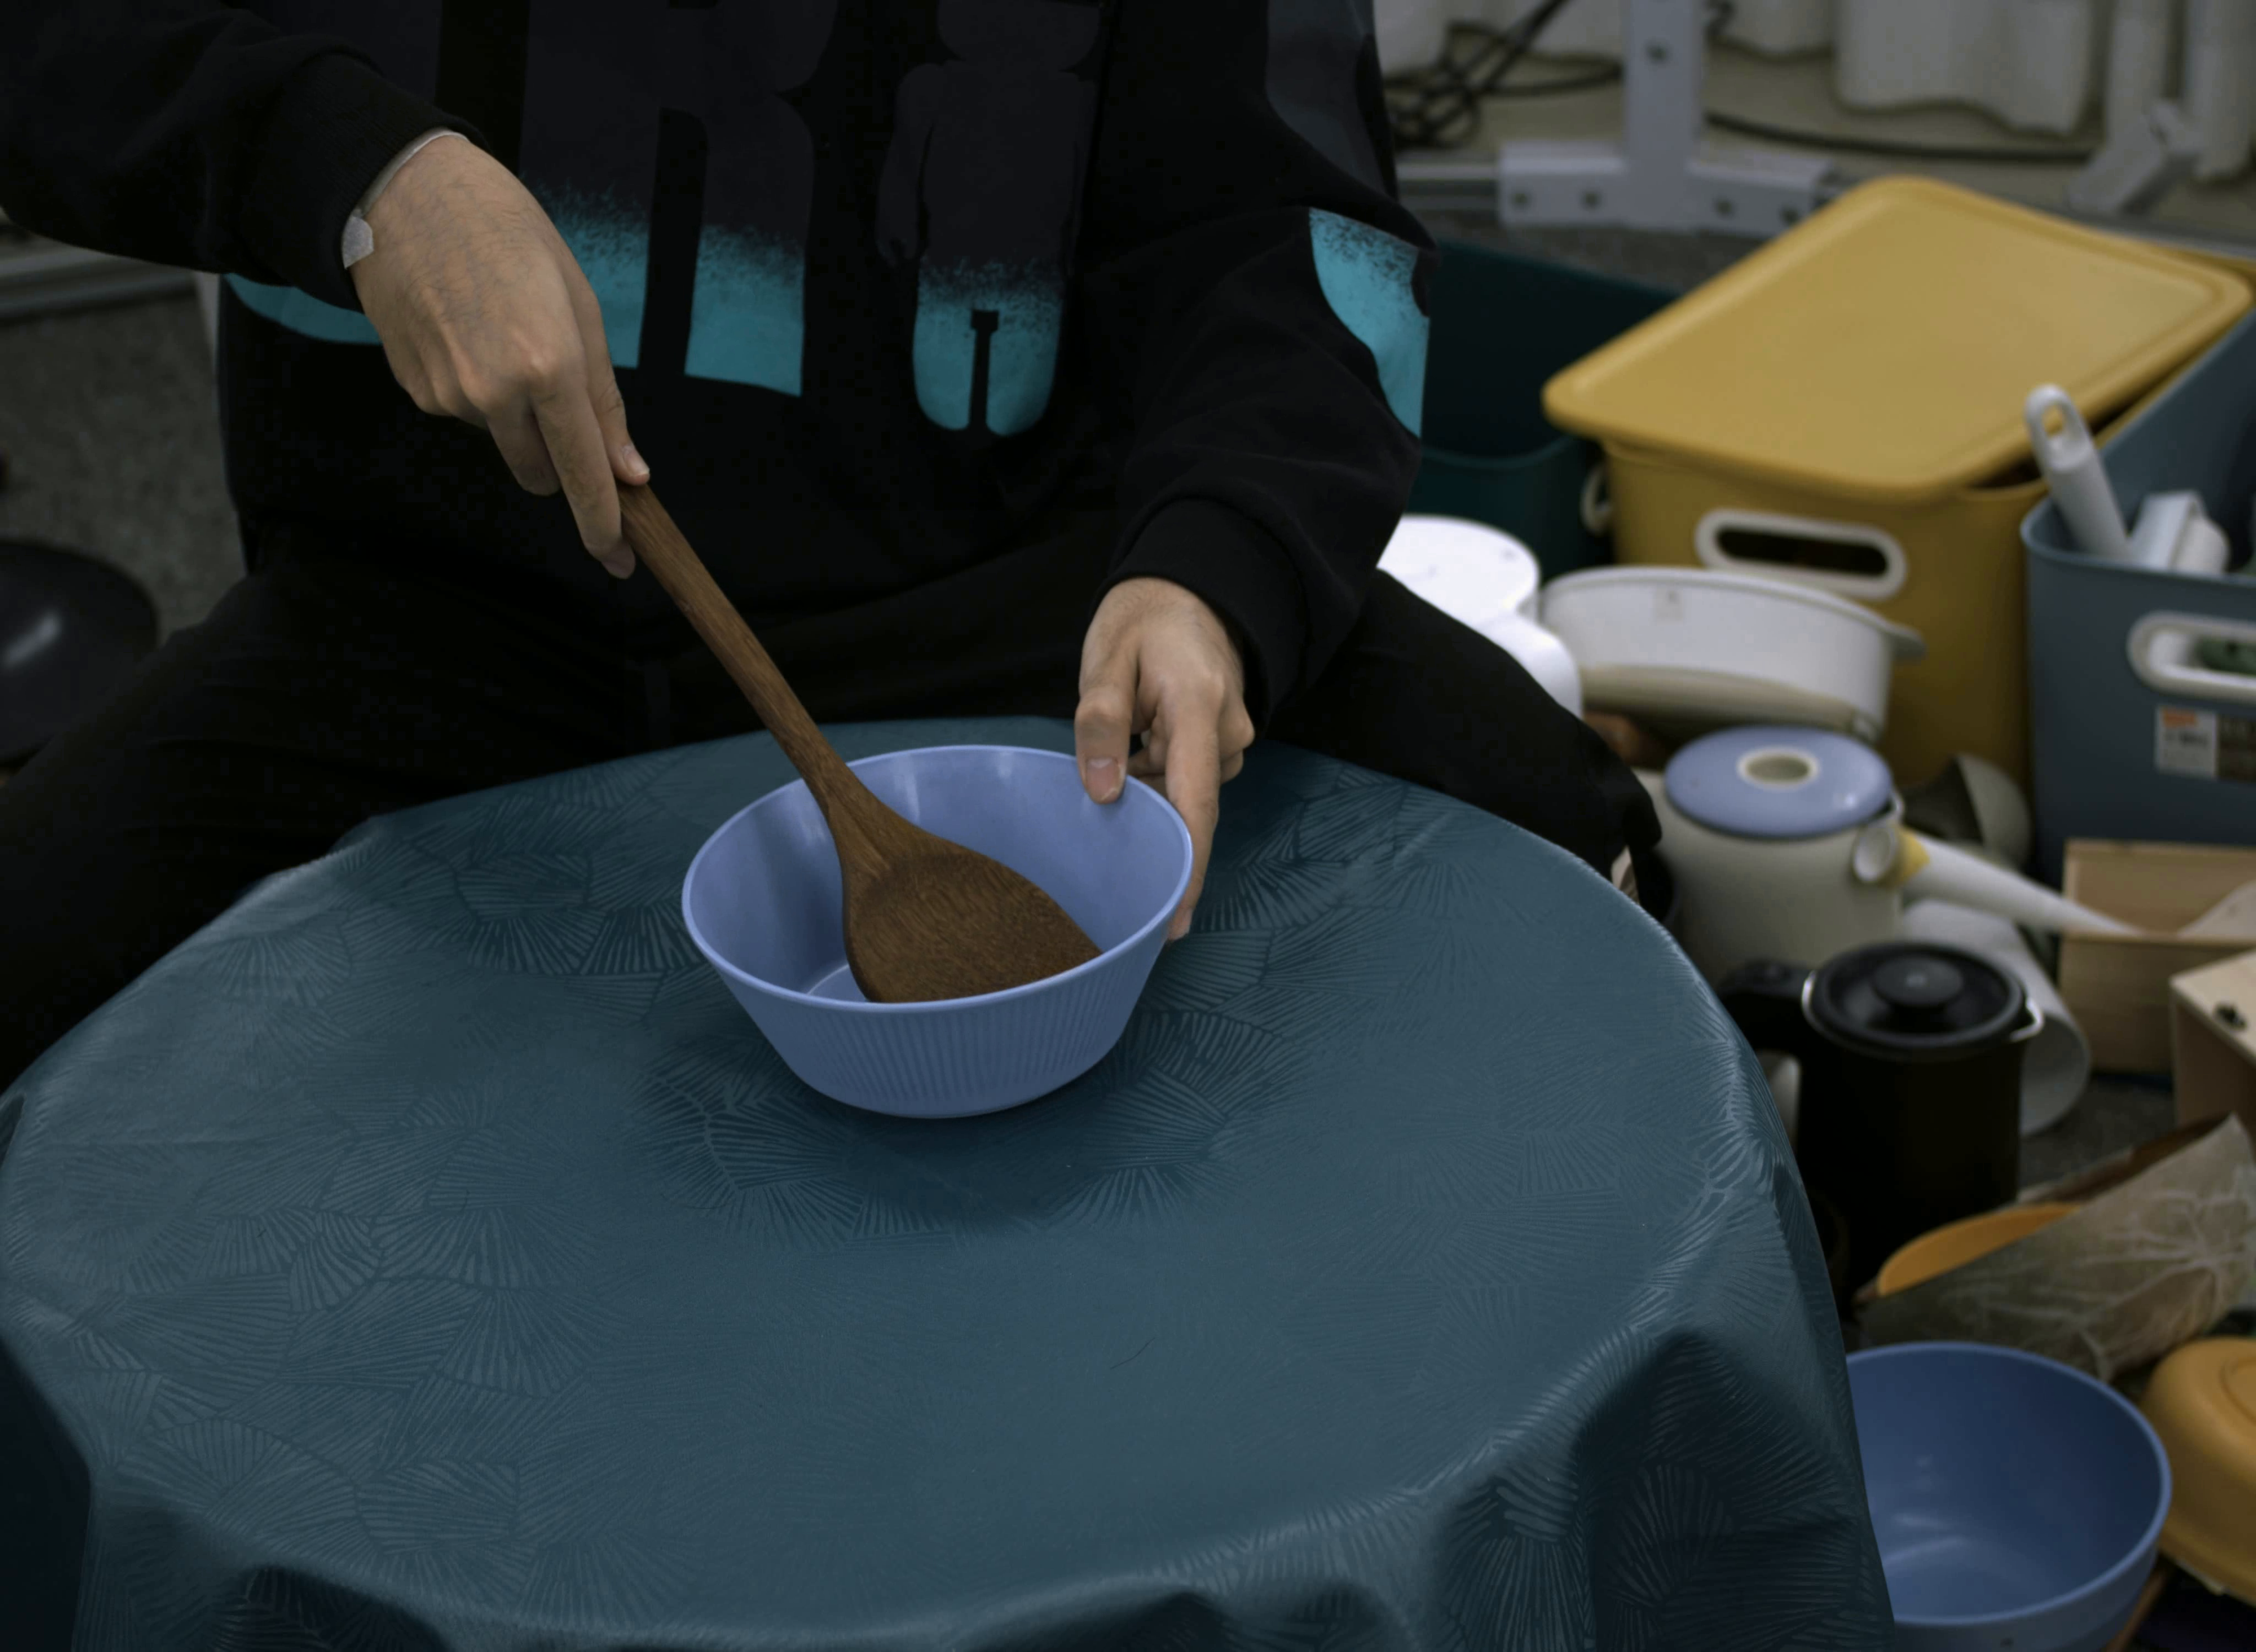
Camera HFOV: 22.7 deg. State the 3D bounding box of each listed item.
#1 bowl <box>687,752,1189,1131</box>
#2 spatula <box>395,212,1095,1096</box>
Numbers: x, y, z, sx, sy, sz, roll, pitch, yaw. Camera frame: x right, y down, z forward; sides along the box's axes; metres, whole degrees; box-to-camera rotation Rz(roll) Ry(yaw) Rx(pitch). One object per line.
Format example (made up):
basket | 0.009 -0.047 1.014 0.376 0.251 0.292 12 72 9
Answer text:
bowl | -0.061 0.047 1.938 0.175 0.069 0.179 -6 30 4
spatula | -0.139 -0.066 1.957 0.097 0.015 0.388 -27 75 -43
